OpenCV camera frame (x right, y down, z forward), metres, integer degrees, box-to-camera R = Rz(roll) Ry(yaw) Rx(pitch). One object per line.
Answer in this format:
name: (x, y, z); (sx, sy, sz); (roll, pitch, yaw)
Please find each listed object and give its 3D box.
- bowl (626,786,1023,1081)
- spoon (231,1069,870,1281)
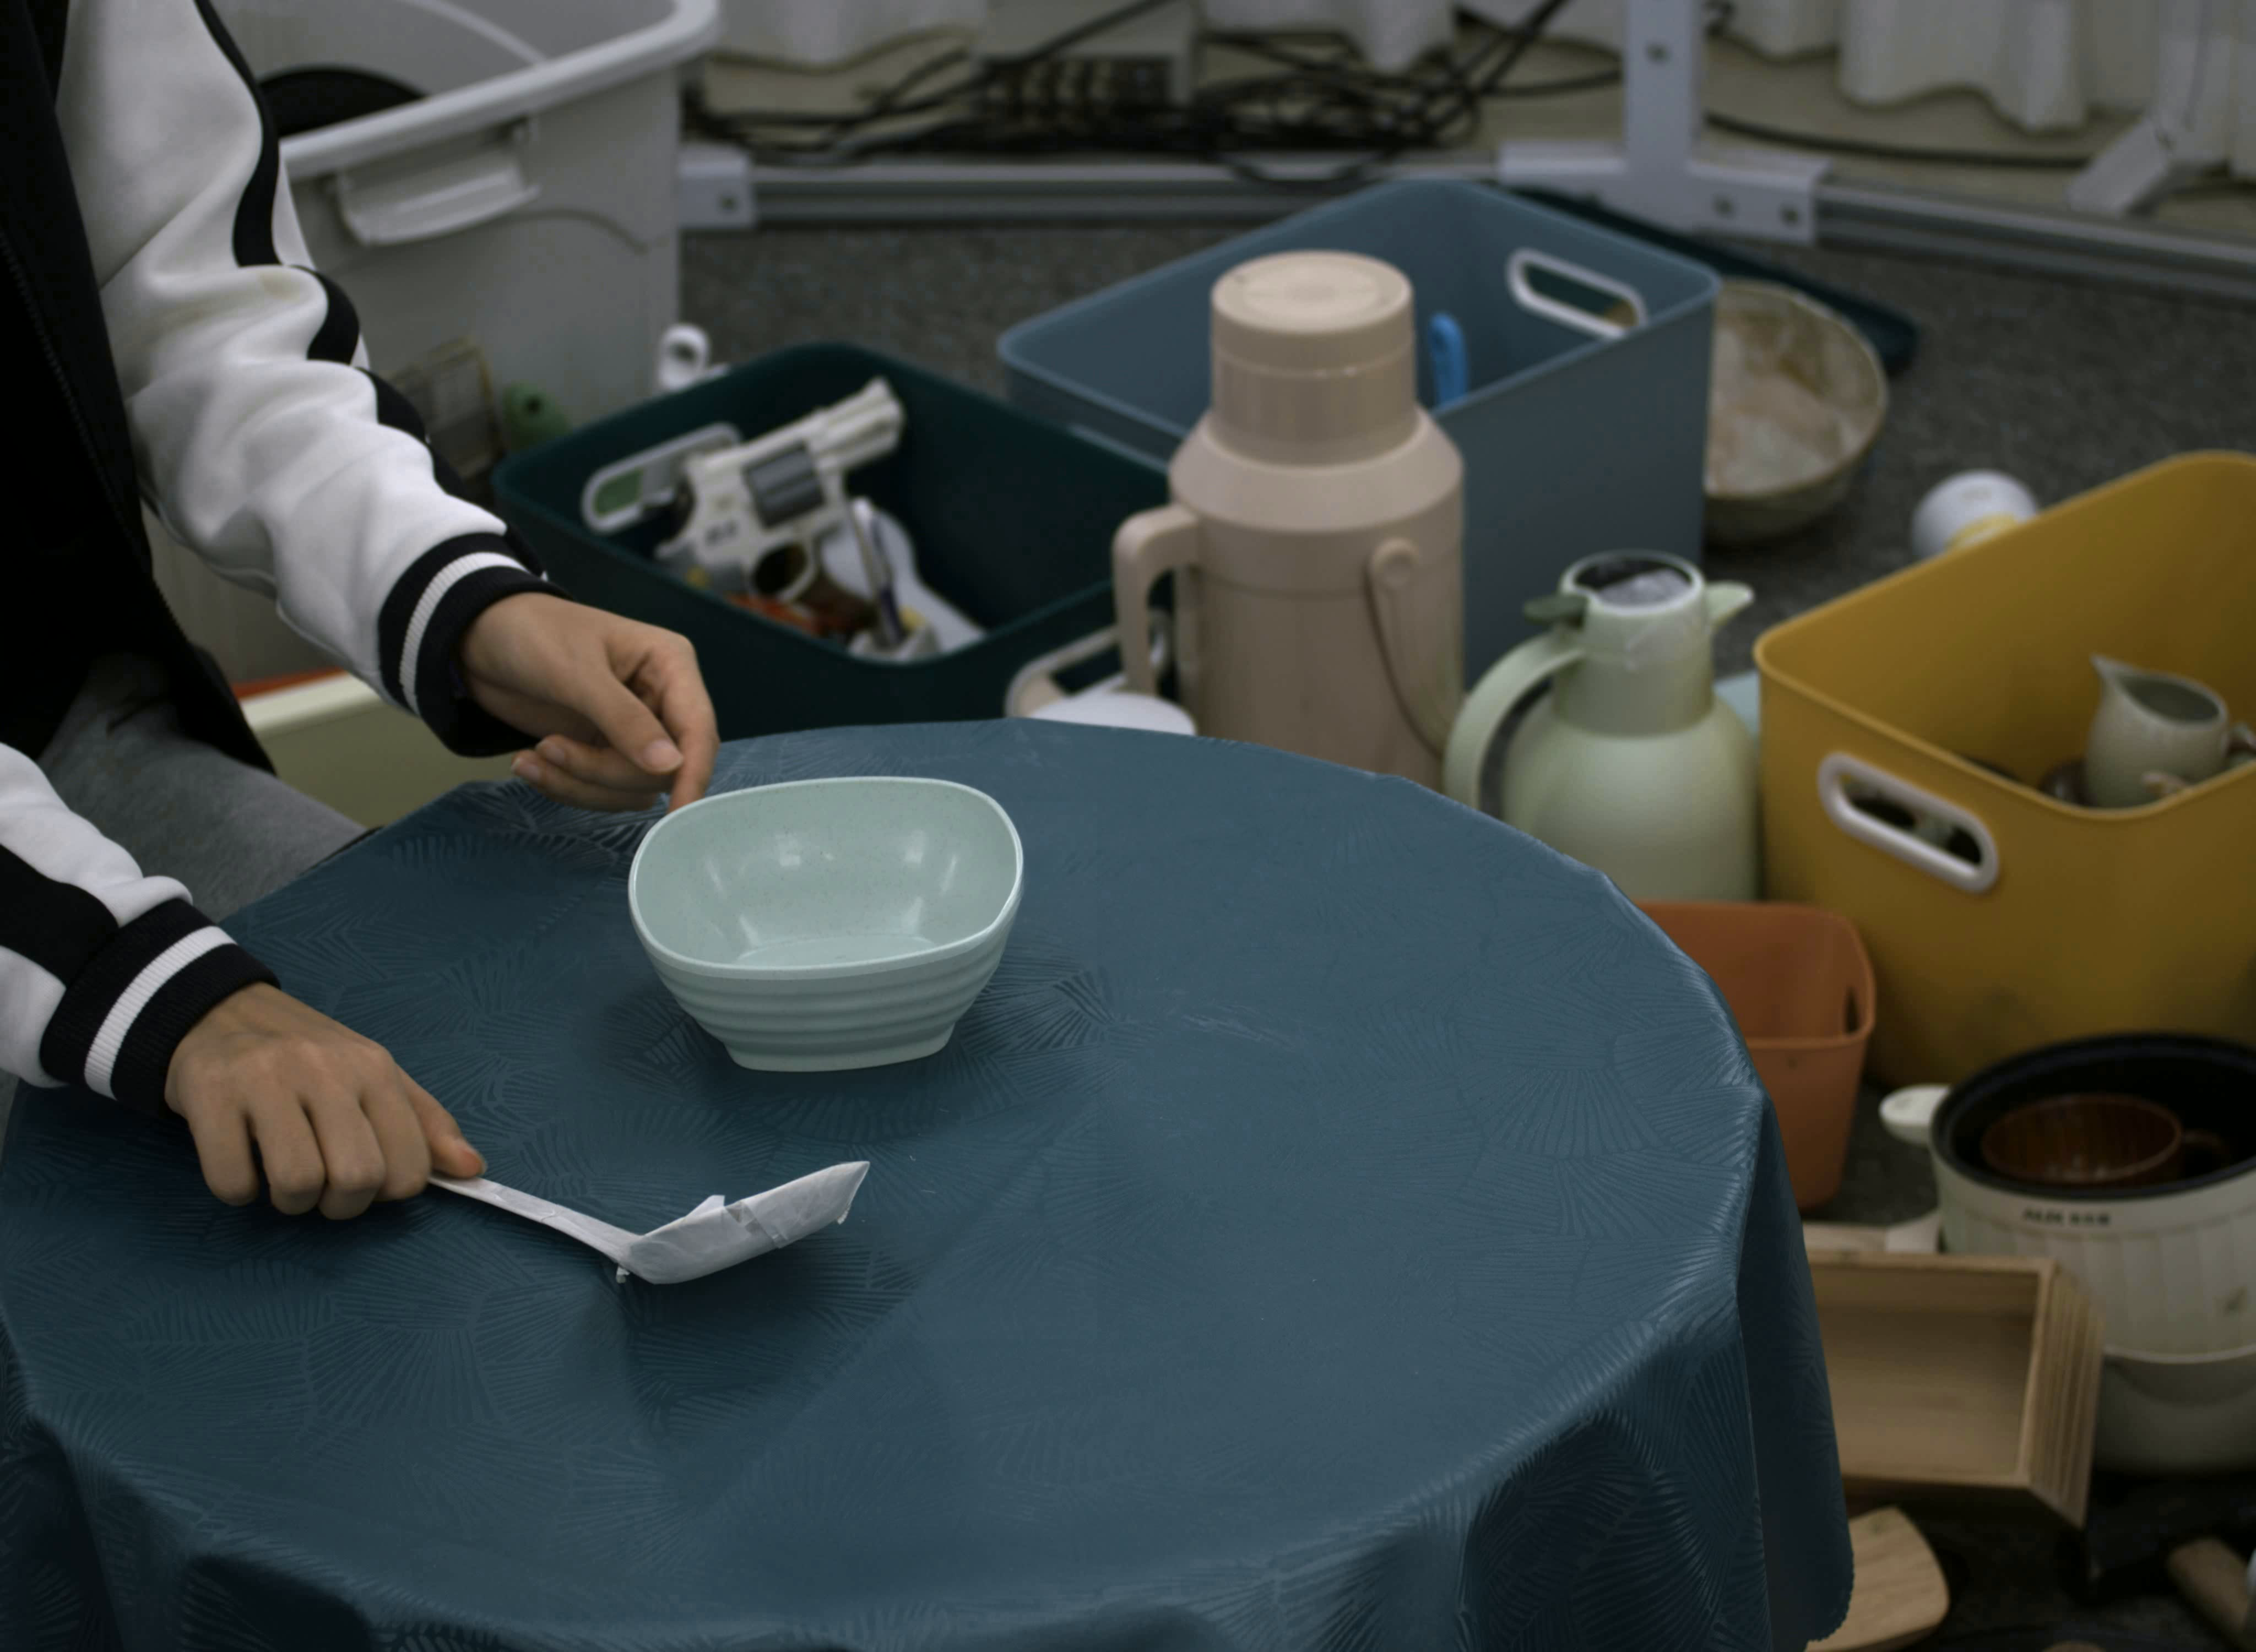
bowl: (-0.104, 0.043, 1.967); (0.151, 0.058, 0.154); (-2, 27, 1)
spoon: (-0.199, 0.099, 1.867); (0.276, 0.059, 0.101); (19, 15, 38)
